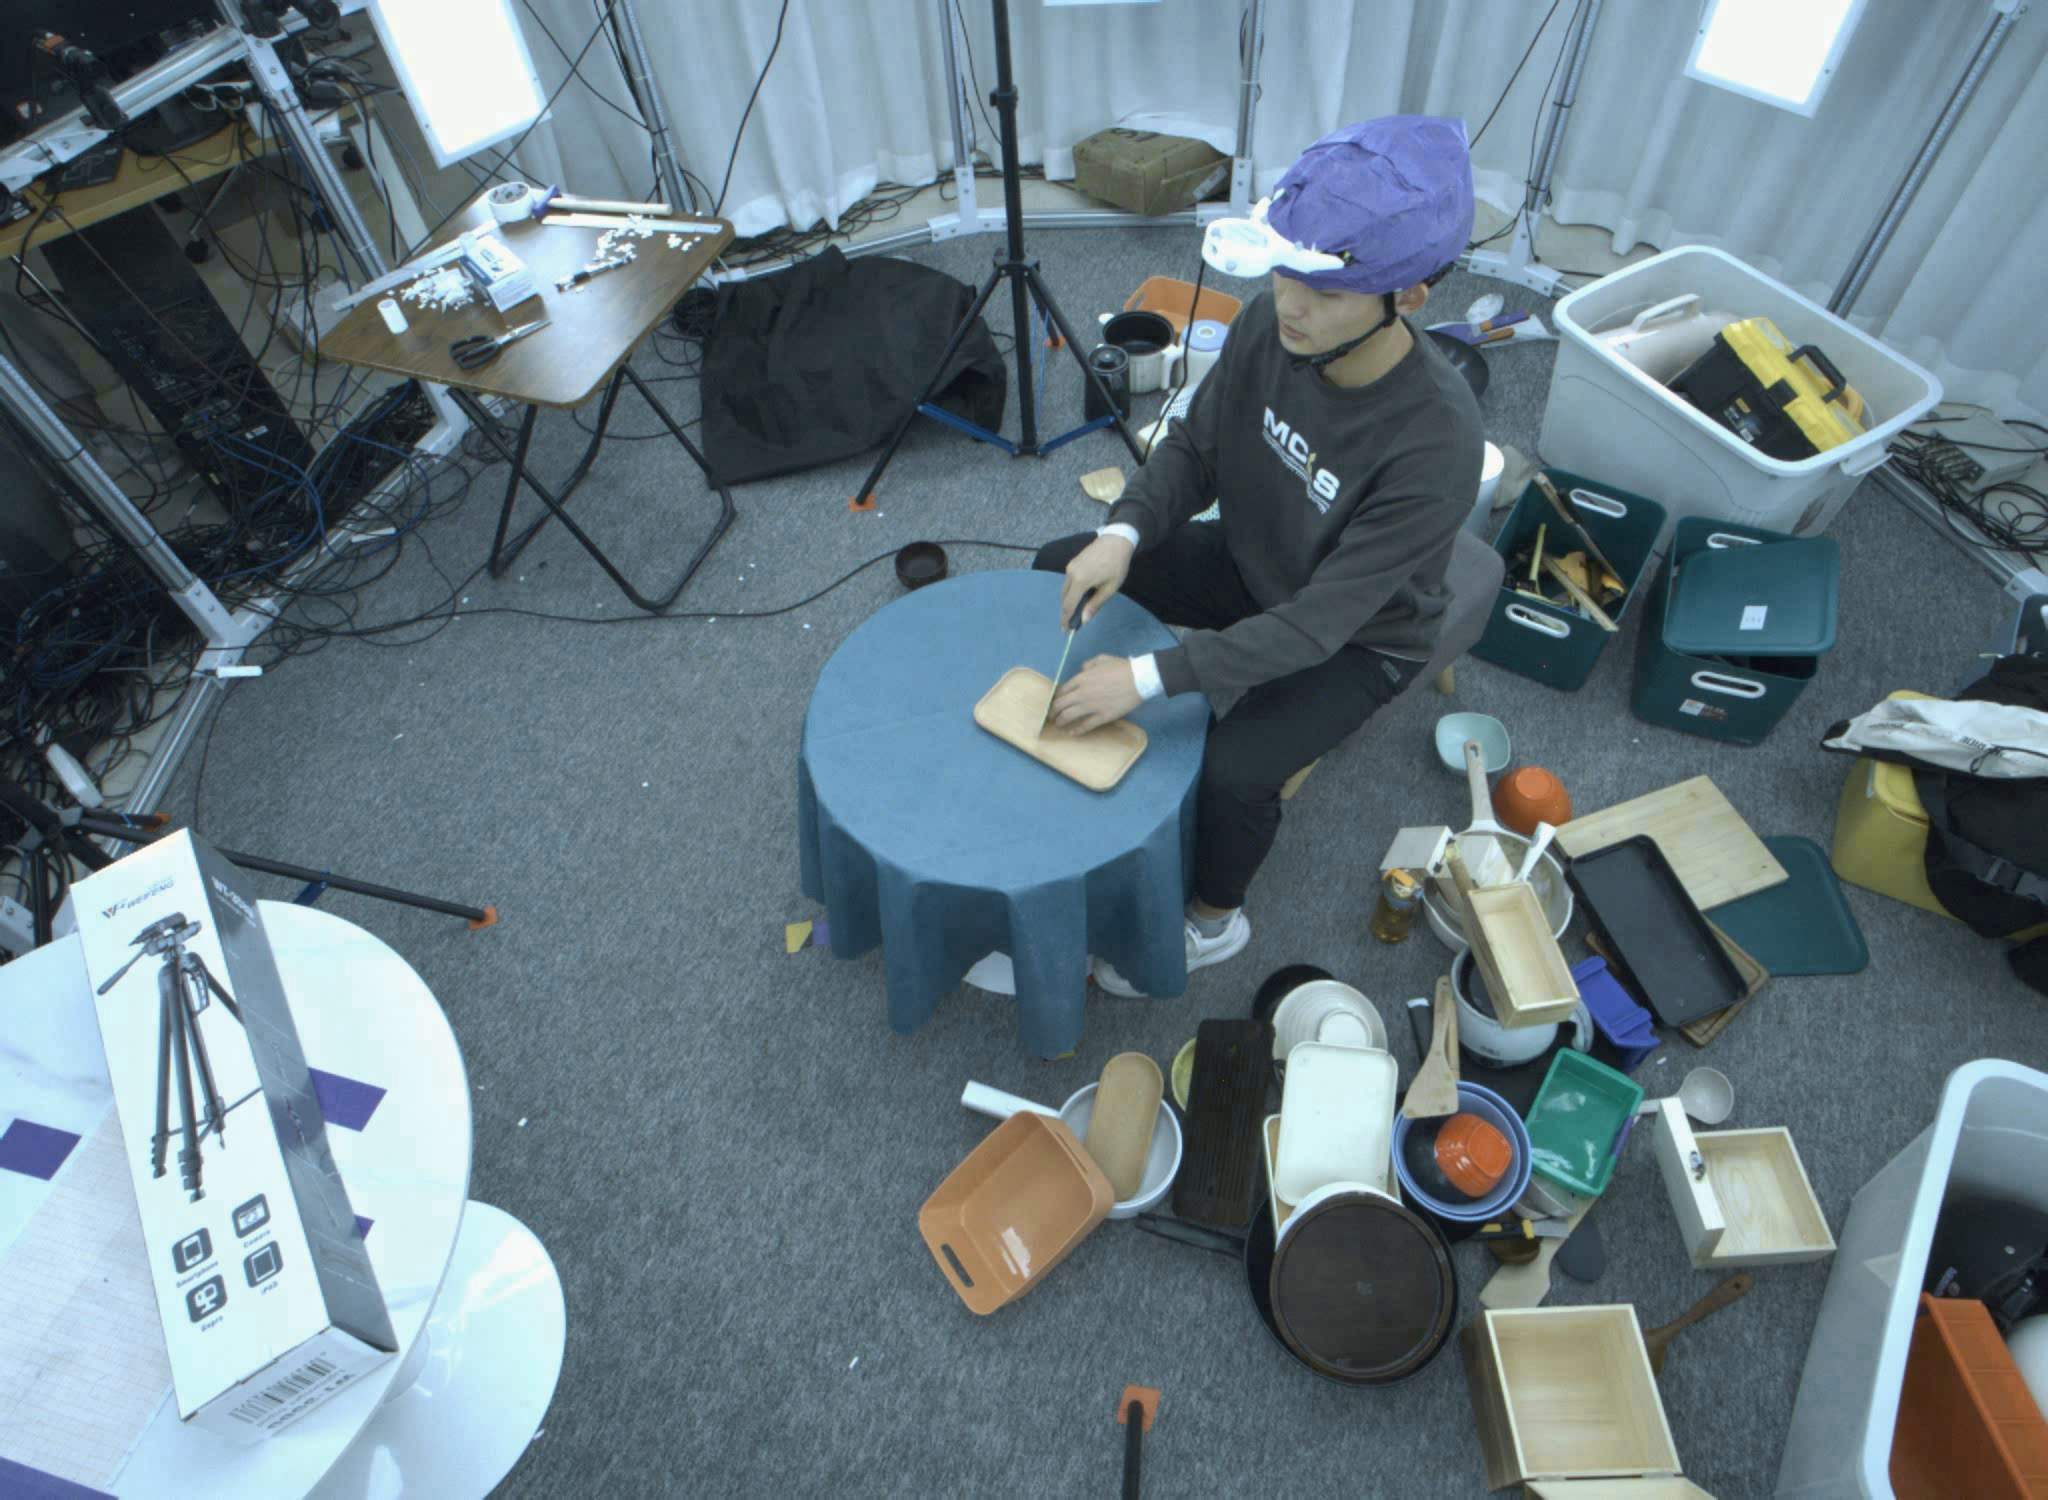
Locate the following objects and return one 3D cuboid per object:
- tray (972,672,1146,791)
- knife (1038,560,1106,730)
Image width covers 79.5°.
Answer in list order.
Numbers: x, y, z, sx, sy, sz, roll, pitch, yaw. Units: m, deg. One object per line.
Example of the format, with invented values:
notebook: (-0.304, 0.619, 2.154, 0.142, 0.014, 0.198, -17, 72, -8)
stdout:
tray: (0.050, -0.029, 1.810, 0.246, 0.023, 0.131, 28, 57, 24)
knife: (0.067, -0.157, 1.828, 0.027, 0.081, 0.289, 21, 70, -3)
